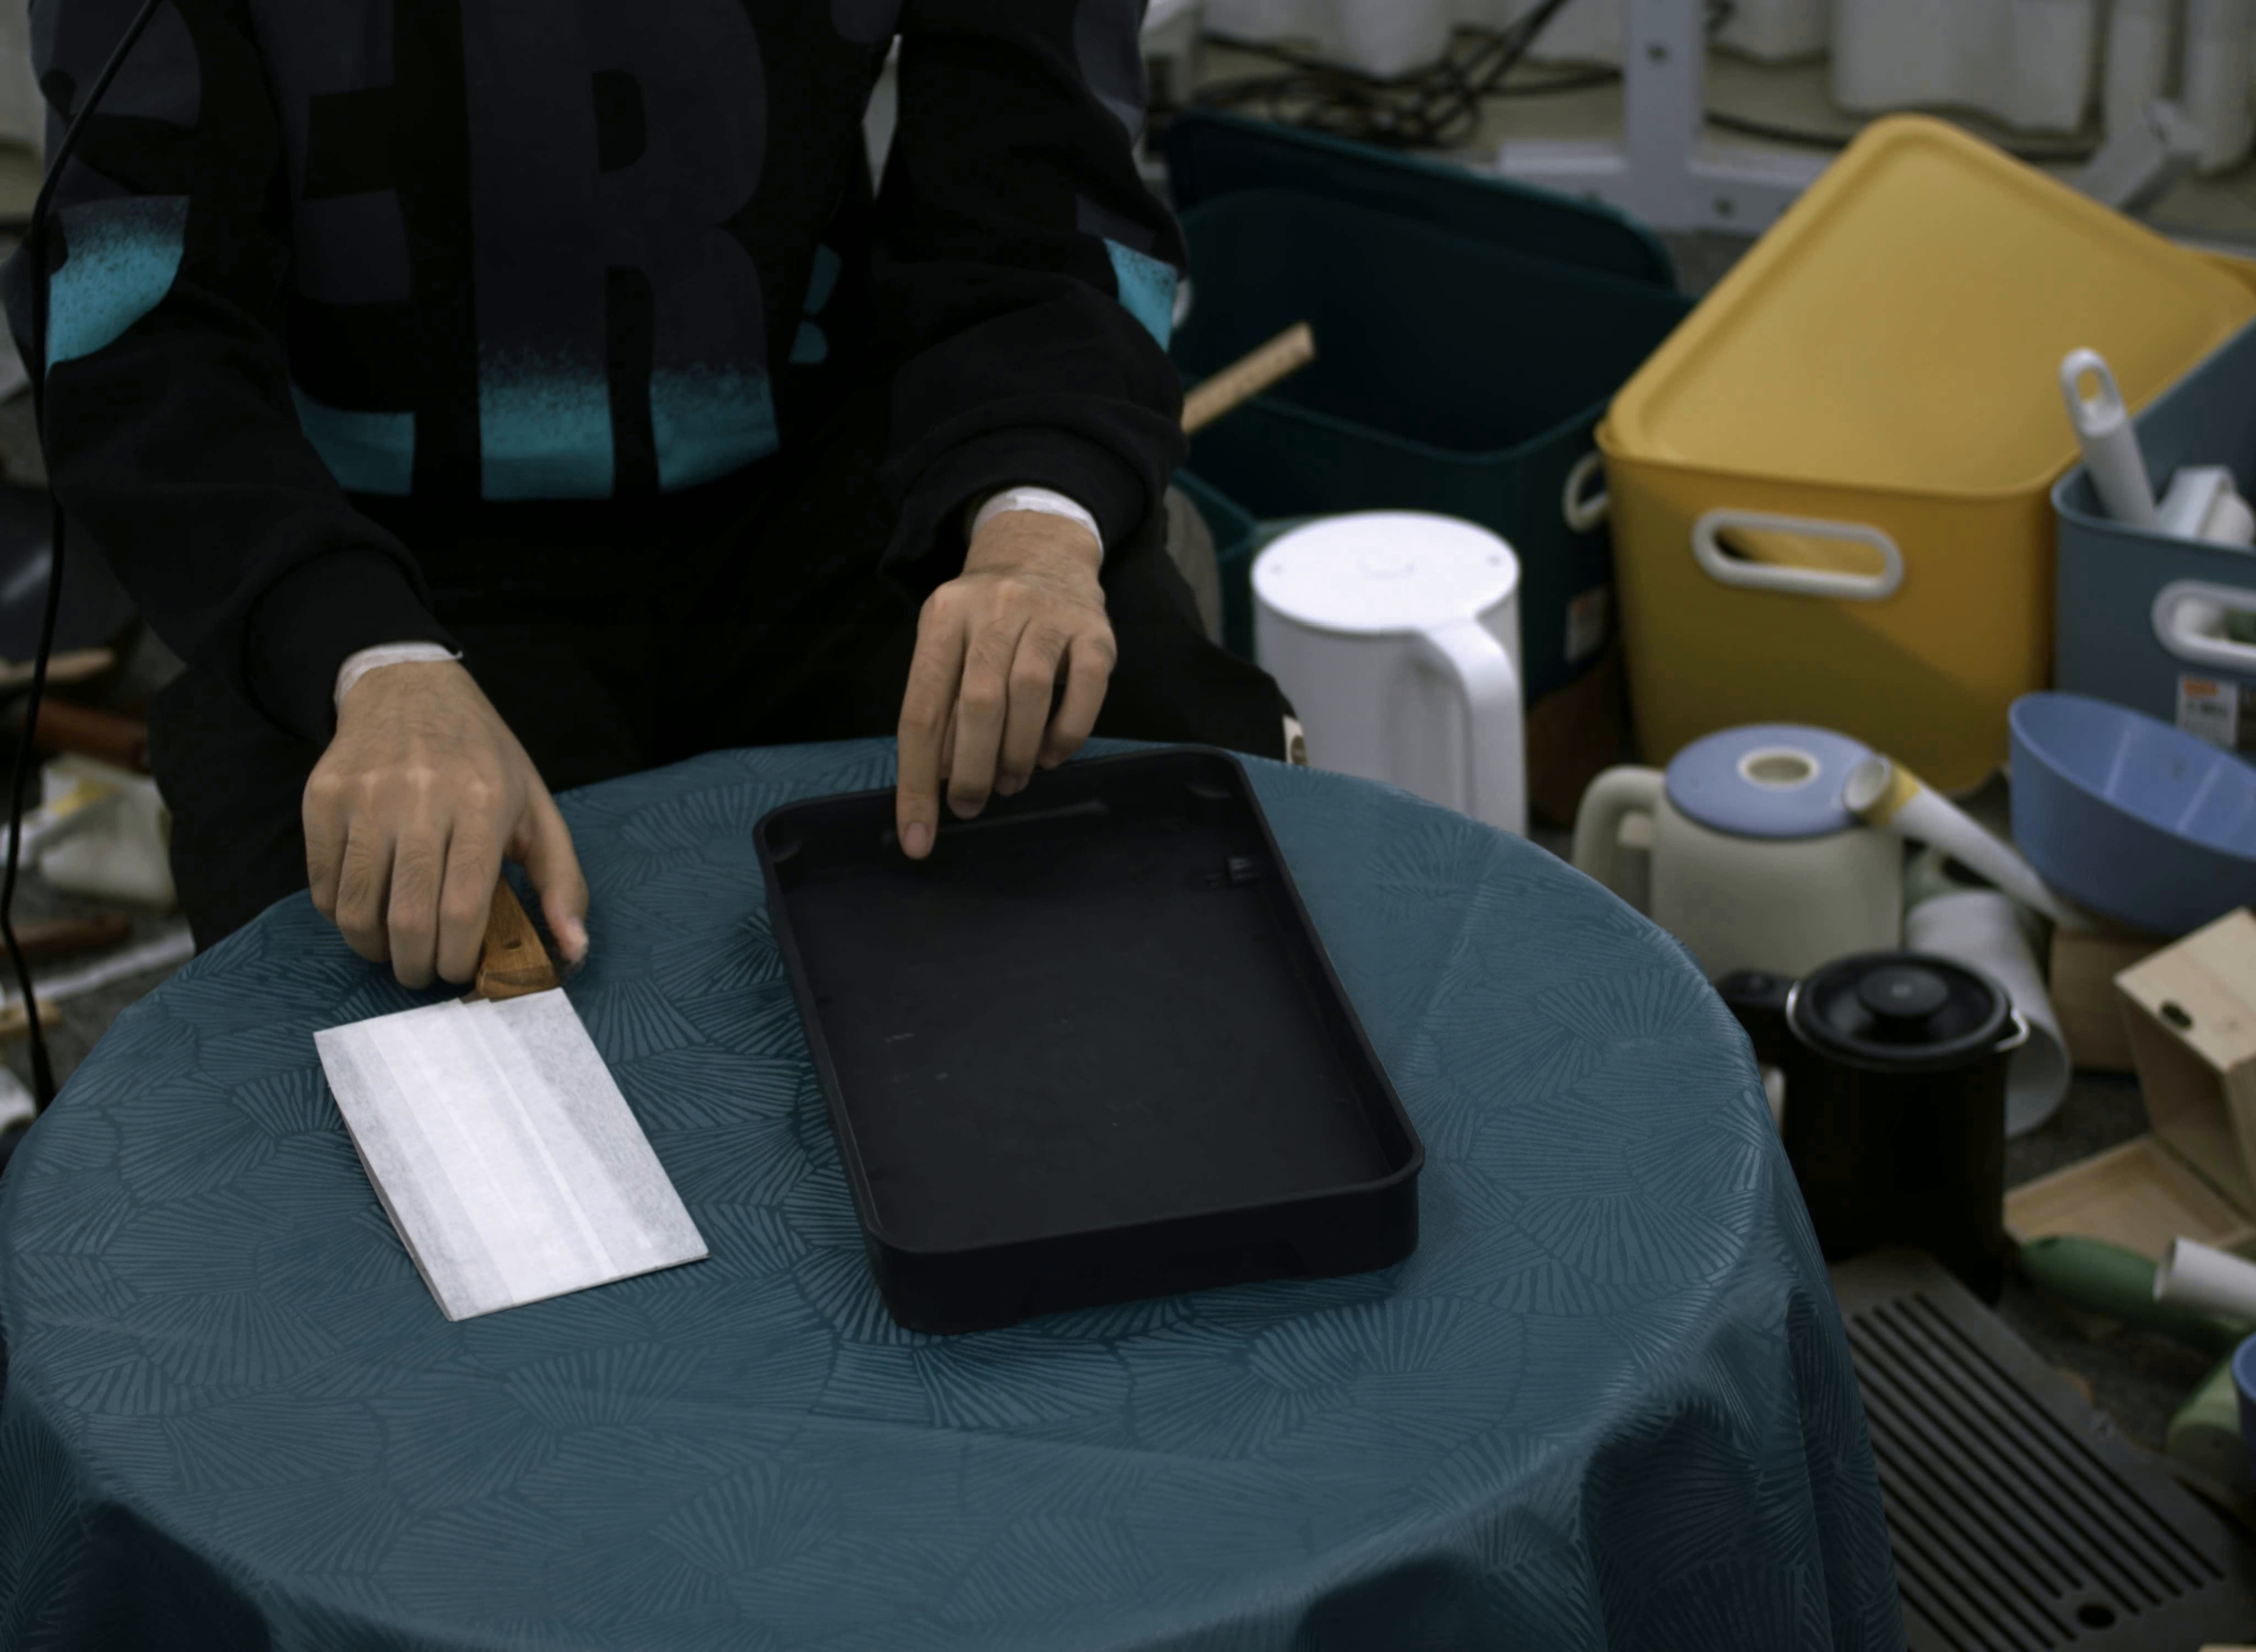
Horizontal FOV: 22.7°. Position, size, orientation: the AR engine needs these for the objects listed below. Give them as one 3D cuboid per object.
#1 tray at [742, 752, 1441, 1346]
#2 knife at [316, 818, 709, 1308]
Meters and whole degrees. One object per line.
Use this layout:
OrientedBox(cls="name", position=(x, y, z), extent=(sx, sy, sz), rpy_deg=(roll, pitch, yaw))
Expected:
OrientedBox(cls="tray", position=(-0.018, 0.070, 1.924), extent=(0.184, 0.036, 0.321), rpy_deg=(-9, 28, -10))
OrientedBox(cls="knife", position=(-0.229, 0.081, 1.947), extent=(0.093, 0.021, 0.308), rpy_deg=(-13, 32, -16))
